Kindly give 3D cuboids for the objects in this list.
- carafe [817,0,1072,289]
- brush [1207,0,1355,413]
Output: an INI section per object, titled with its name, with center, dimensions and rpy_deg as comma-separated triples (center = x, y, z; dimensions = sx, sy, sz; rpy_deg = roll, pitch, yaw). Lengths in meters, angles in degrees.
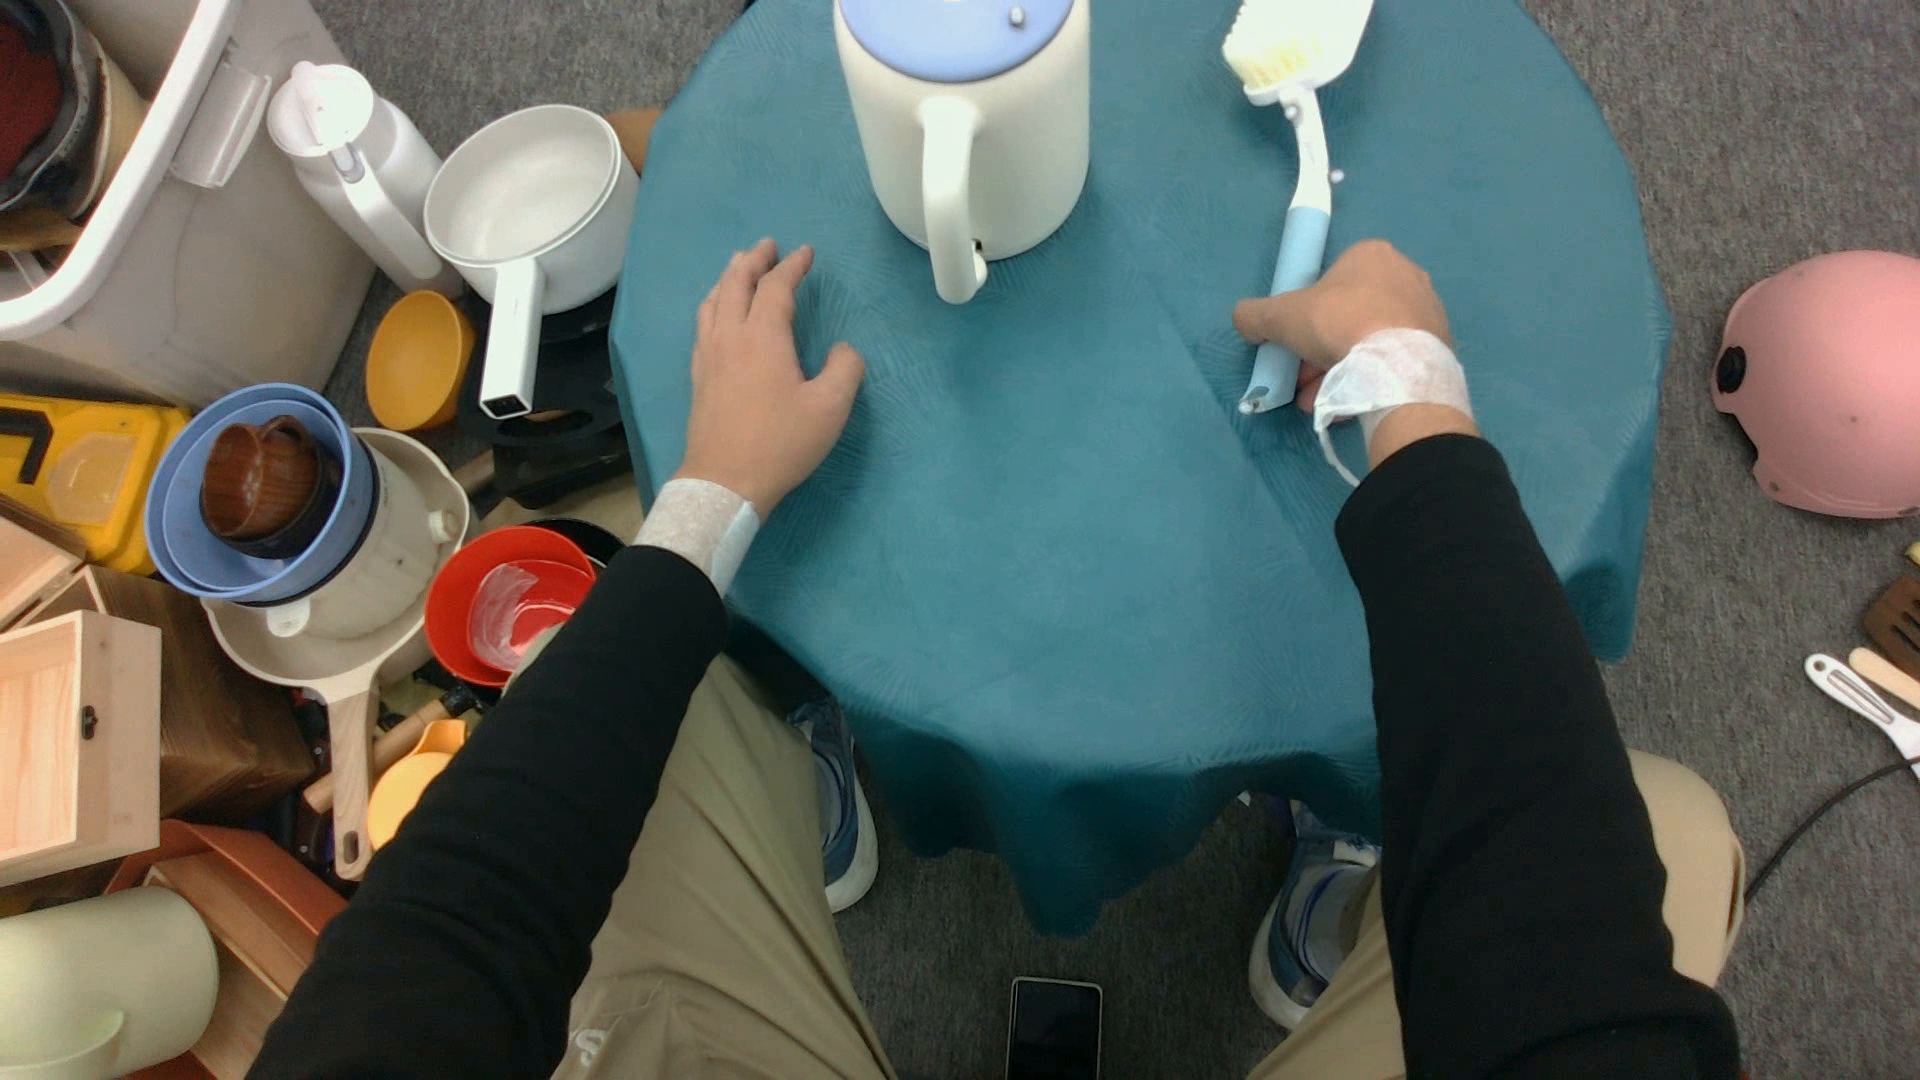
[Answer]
[carafe]
center = -0.006, -0.234, 0.747
dimensions = 0.132, 0.182, 0.191
rpy_deg = 2, 73, 5
[brush]
center = 0.171, -0.228, 0.777
dimensions = 0.084, 0.083, 0.326
rpy_deg = 17, 71, -3
